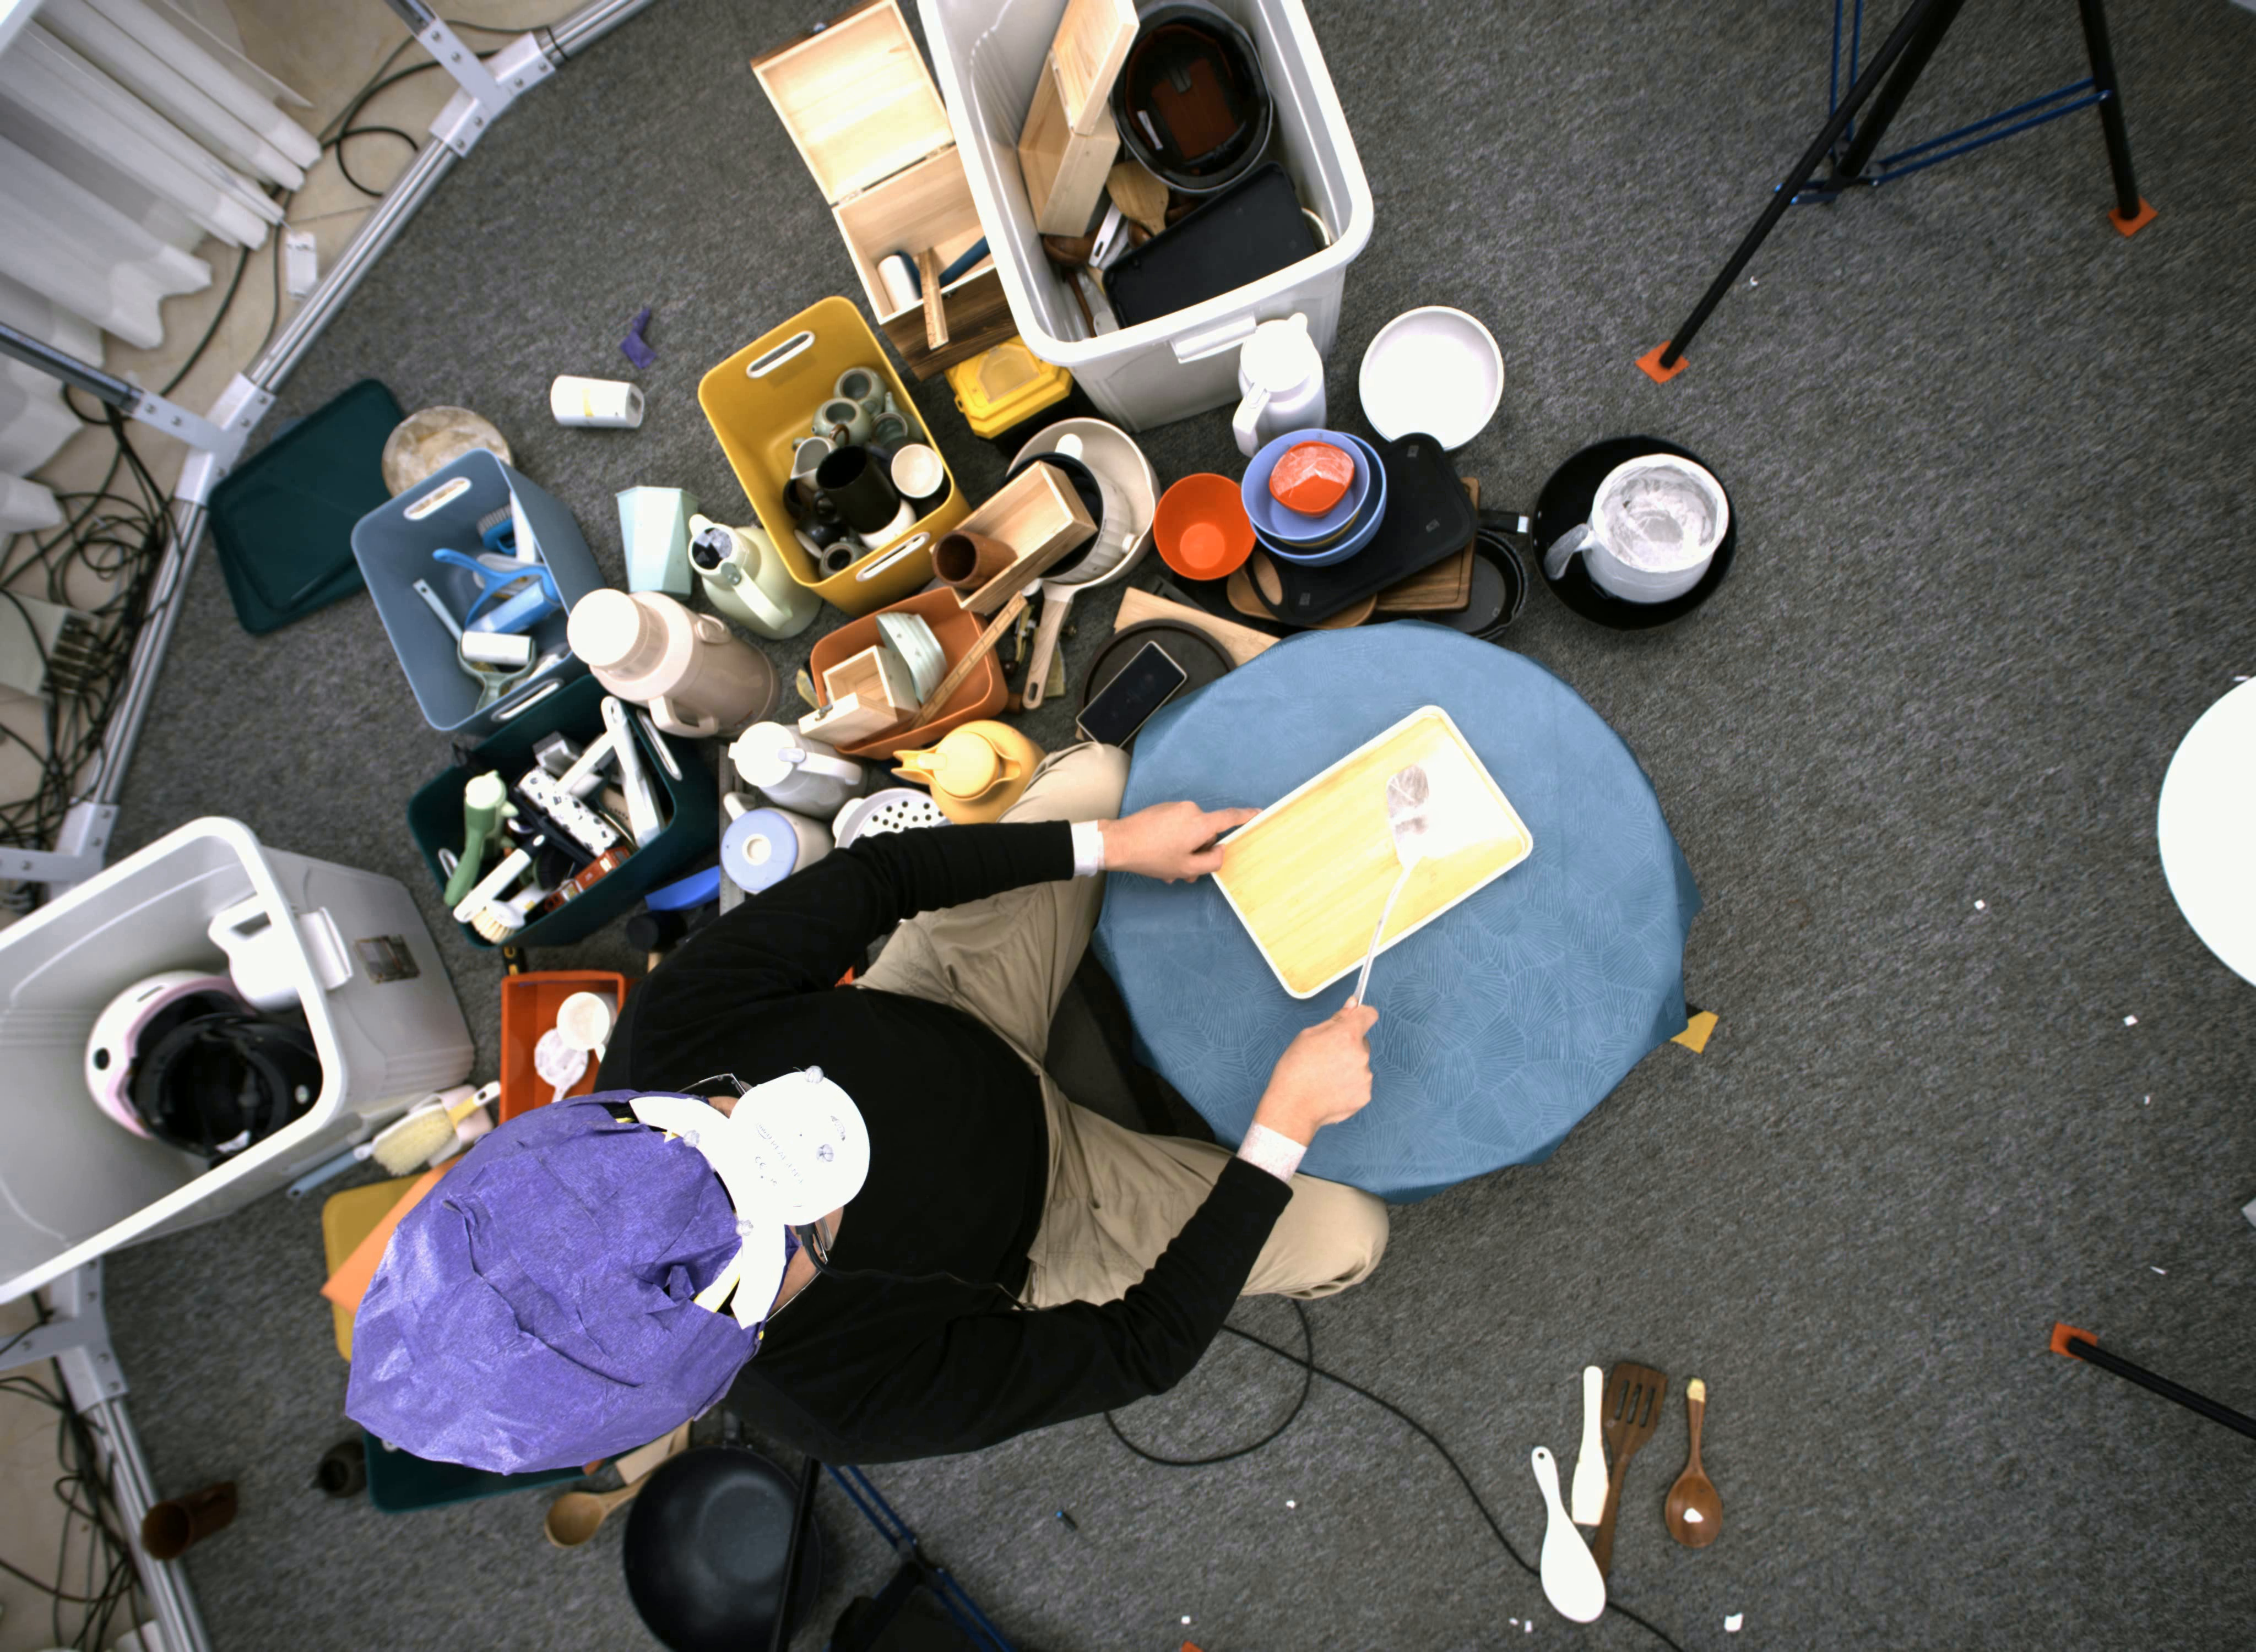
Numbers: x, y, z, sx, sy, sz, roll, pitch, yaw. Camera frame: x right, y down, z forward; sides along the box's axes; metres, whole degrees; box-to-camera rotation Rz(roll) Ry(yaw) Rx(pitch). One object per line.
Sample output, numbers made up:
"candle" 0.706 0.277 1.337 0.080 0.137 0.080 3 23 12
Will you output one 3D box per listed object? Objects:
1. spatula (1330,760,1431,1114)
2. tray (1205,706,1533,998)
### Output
"spatula" 0.246 0.107 1.387 0.045 0.099 0.361 22 79 -11
"tray" 0.251 0.026 1.453 0.302 0.027 0.190 -33 82 7
